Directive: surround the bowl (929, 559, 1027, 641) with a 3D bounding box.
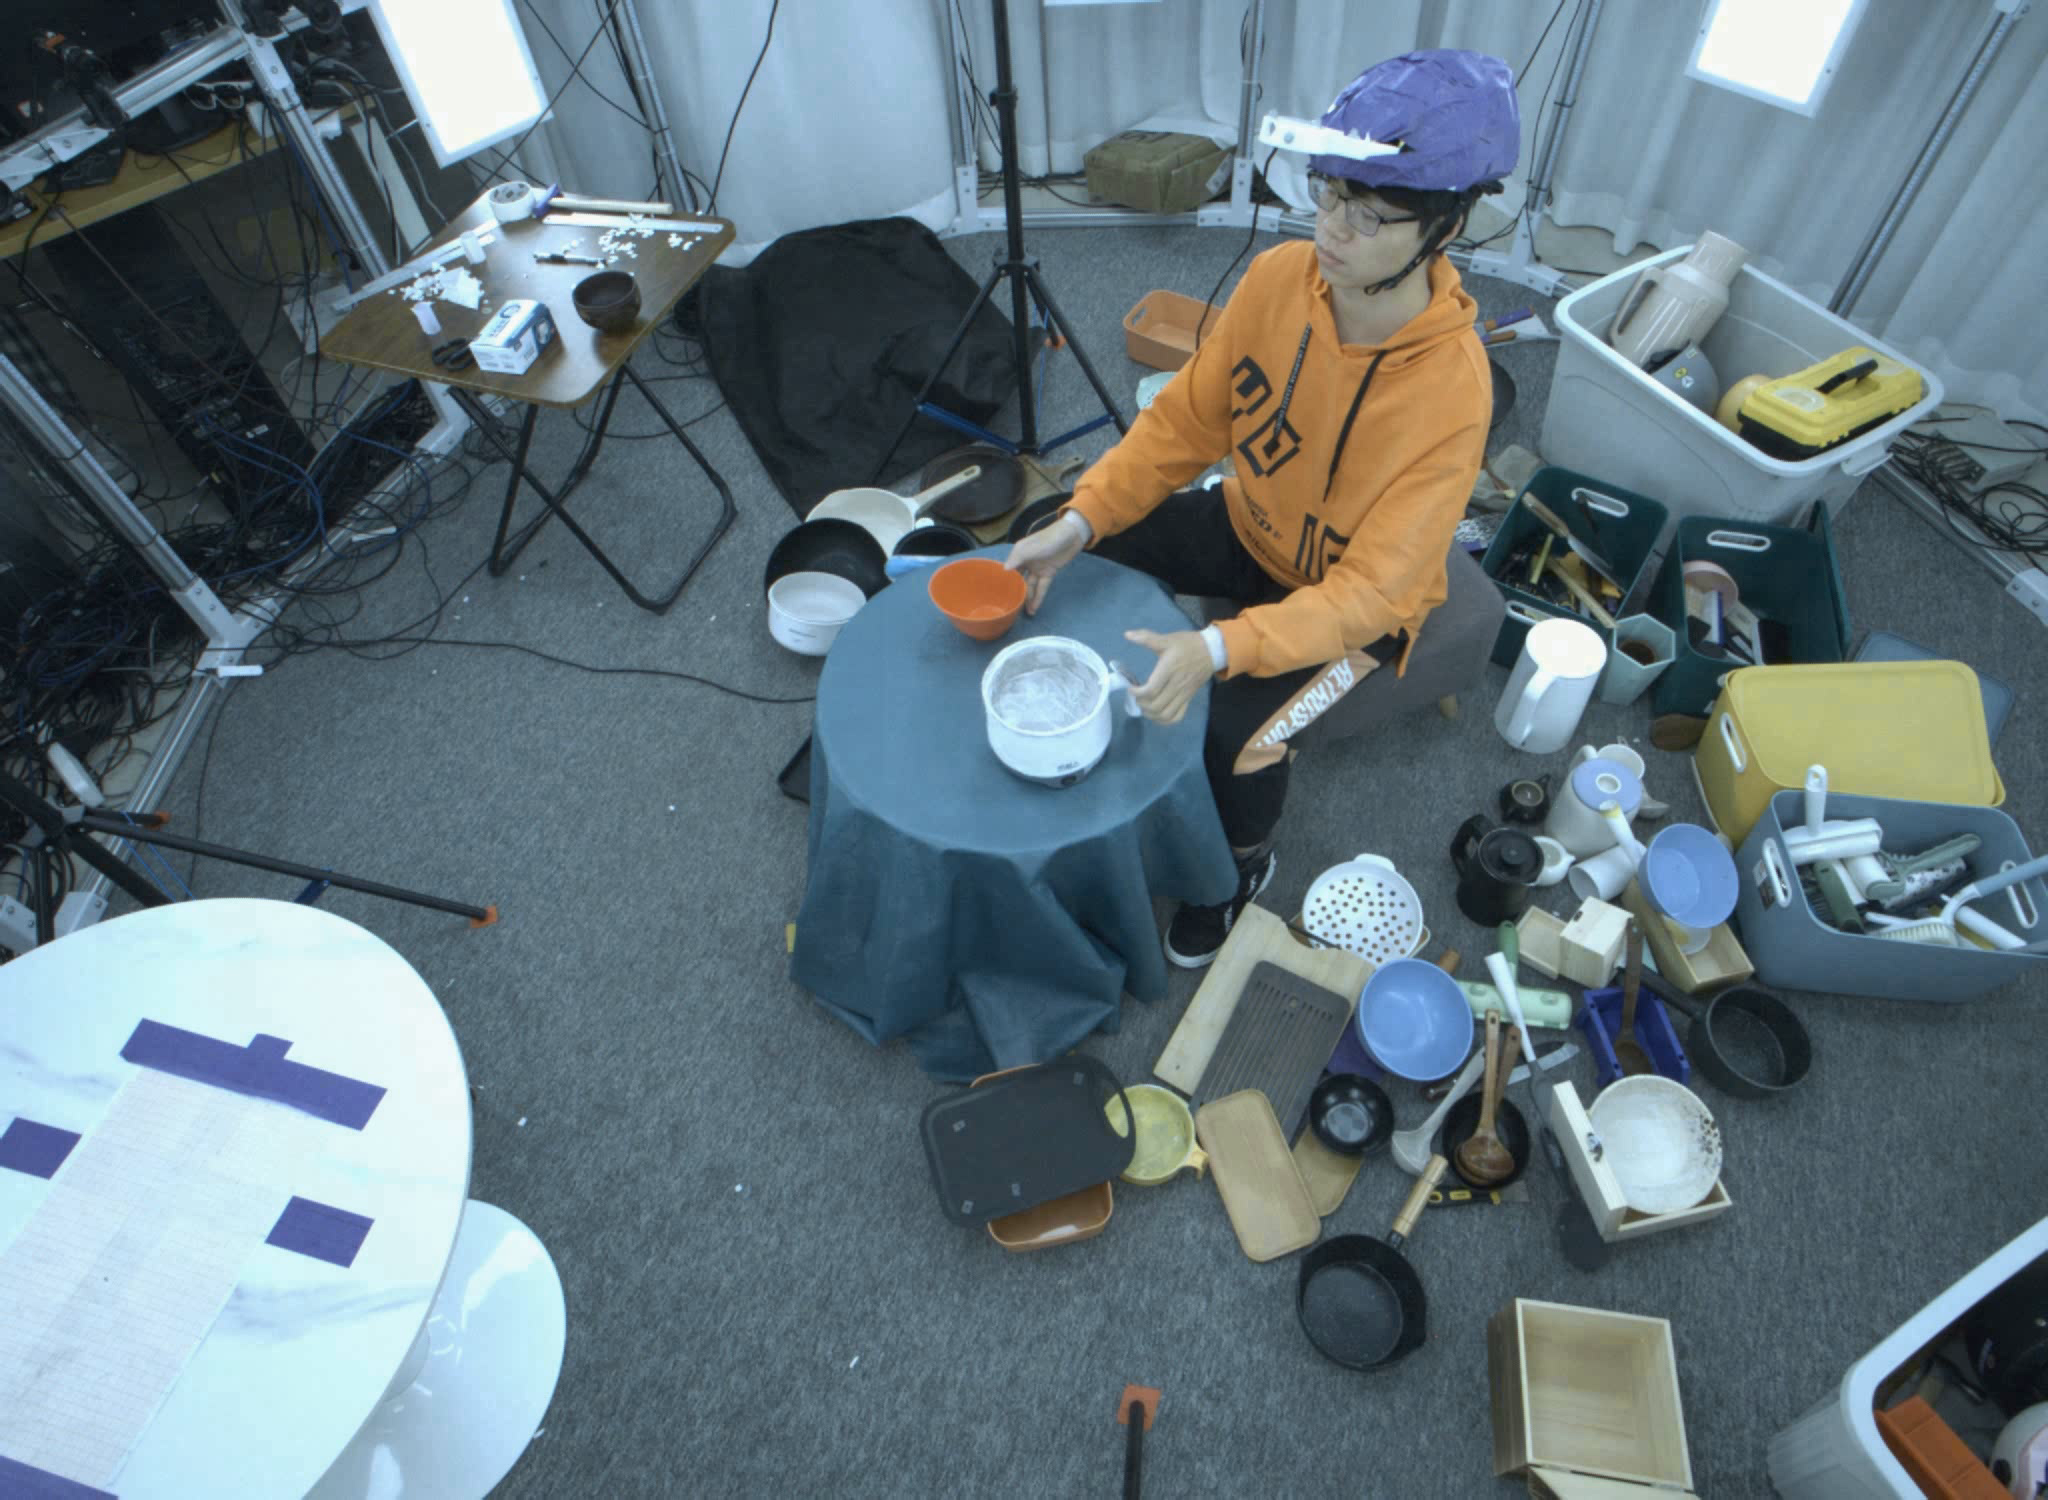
[{"bbox_3d":[-0.069,-0.218,1.886,0.148,0.106,0.146,0,54,1],"label":"bowl"}]

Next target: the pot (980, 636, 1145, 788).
[{"bbox_3d":[0.059,-0.061,1.743,0.235,0.138,0.175,-17,56,-9],"label":"pot"}]
